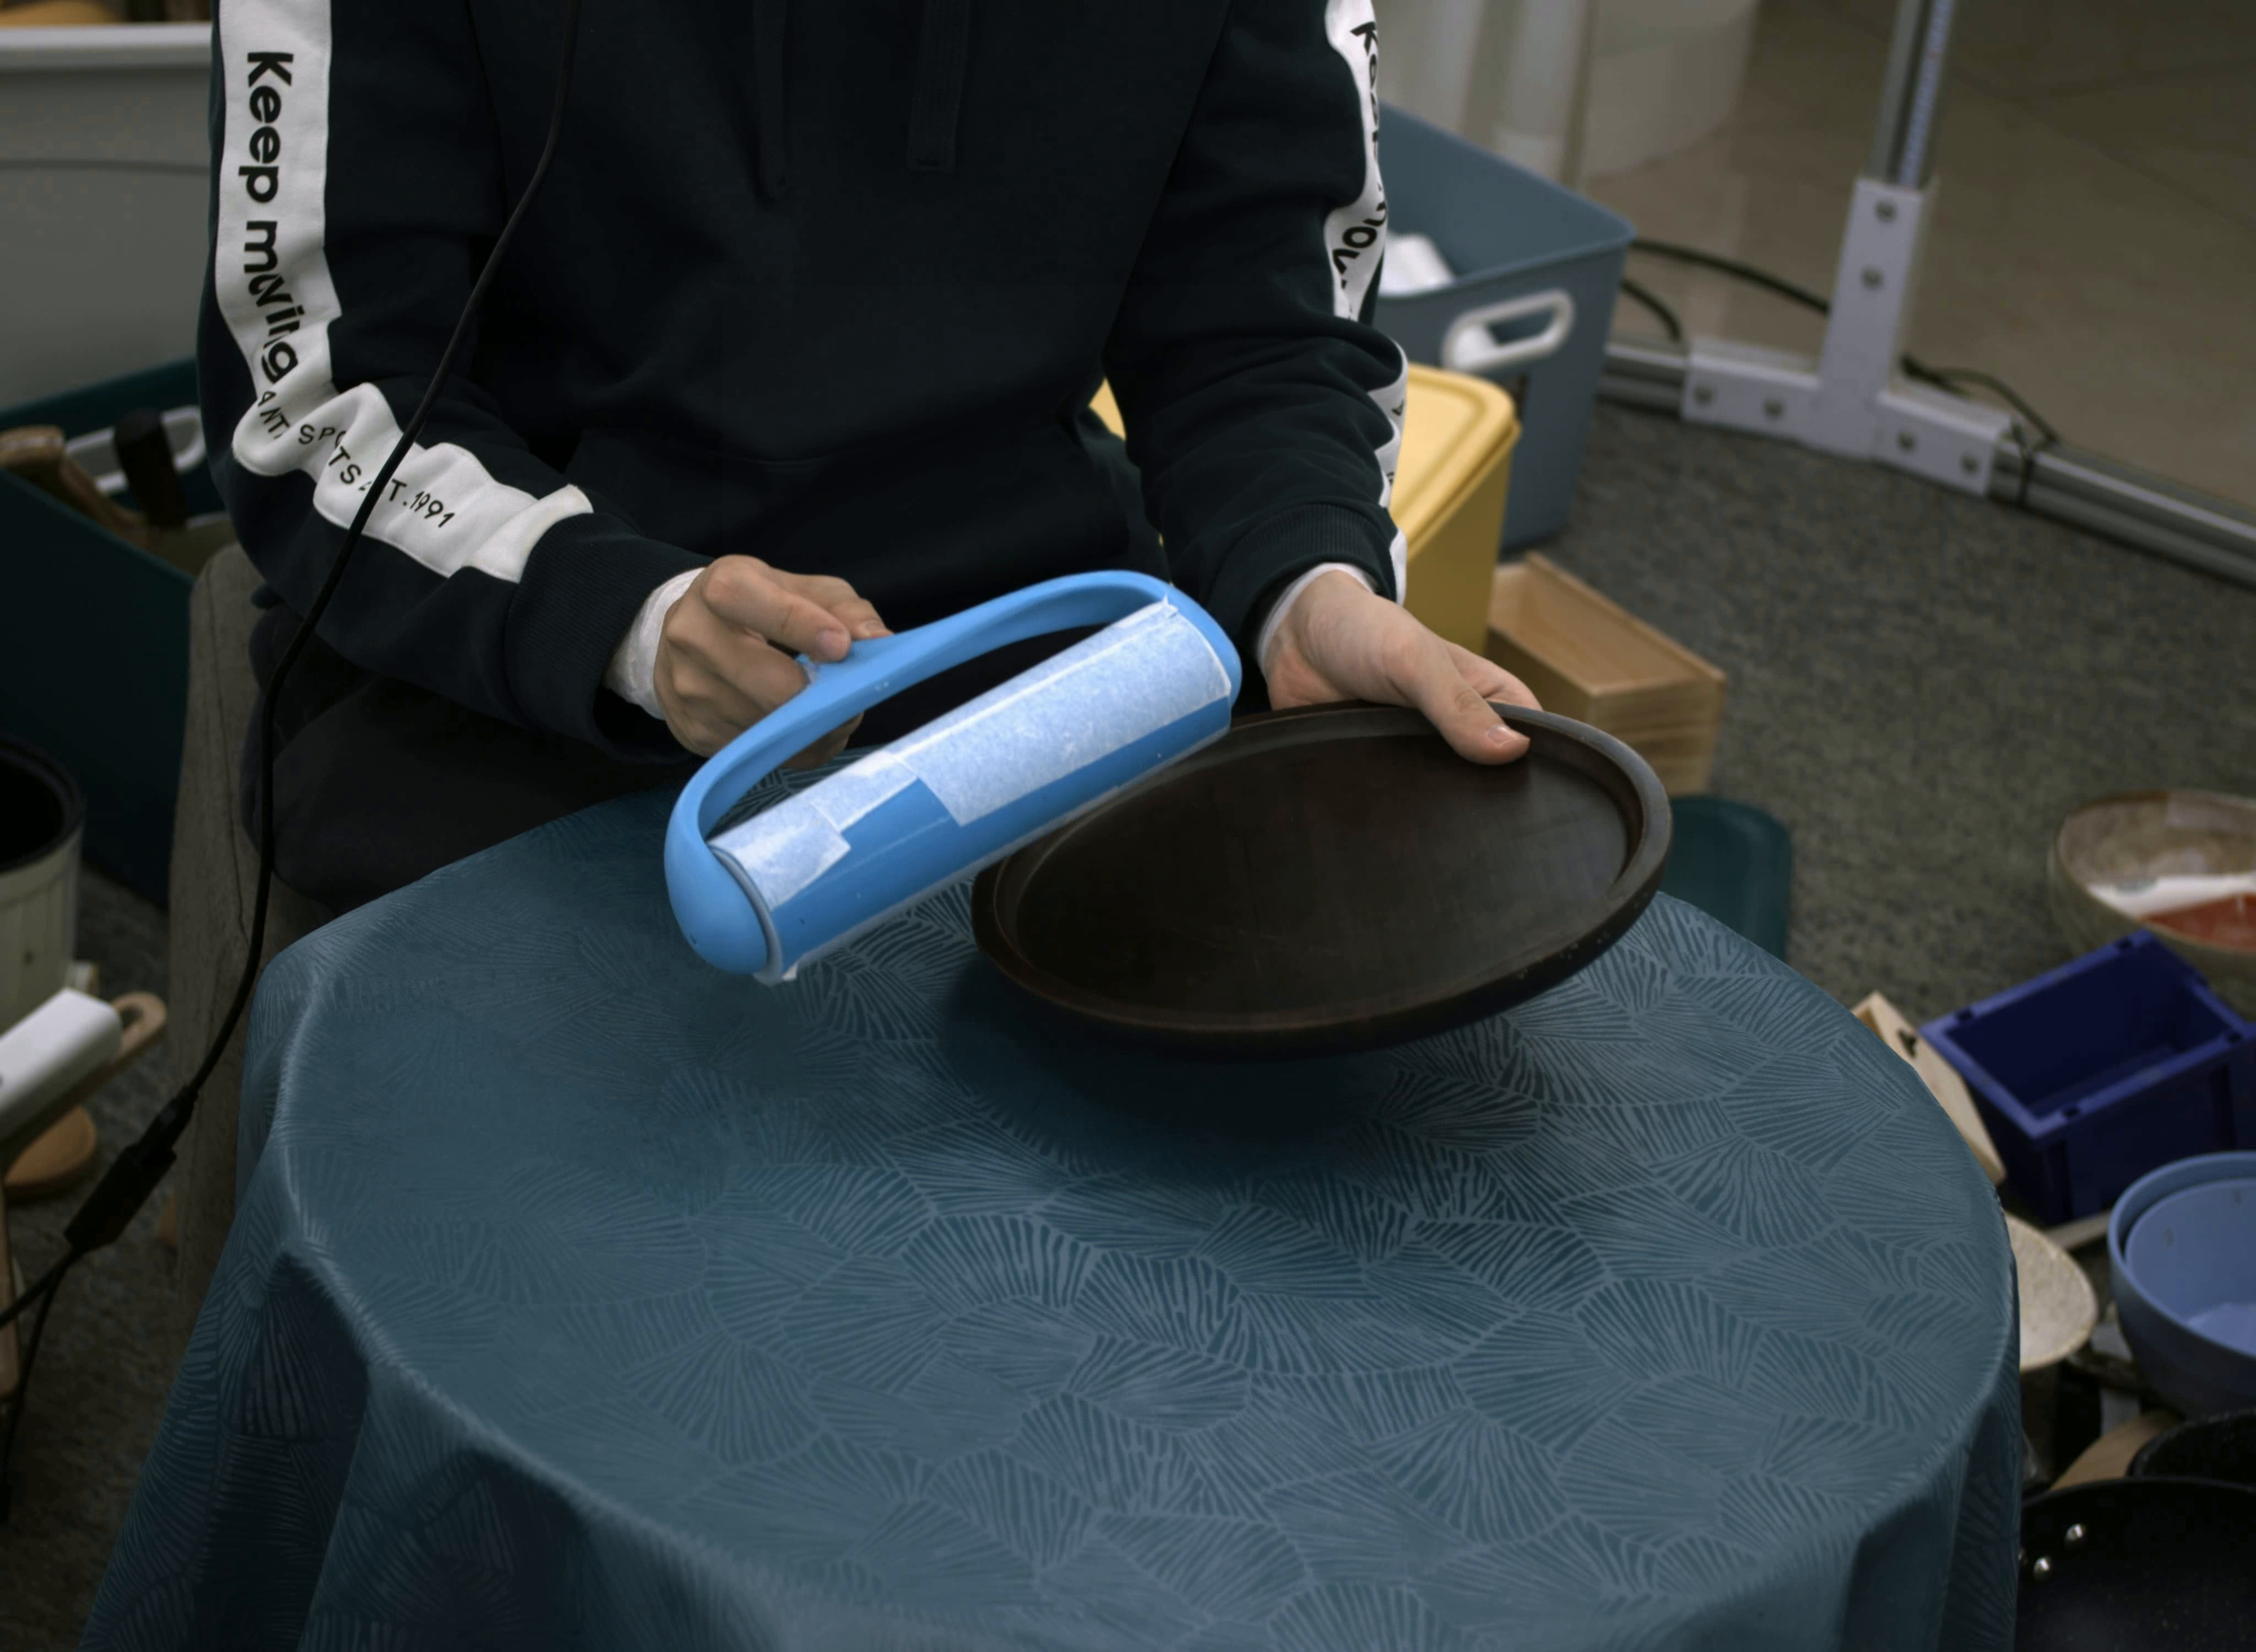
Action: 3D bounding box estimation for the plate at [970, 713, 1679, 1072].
[{"bbox_3d":[0.069,0.021,1.886,0.254,0.029,0.256,-8,26,4],"label":"plate"}]

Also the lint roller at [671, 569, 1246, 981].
[{"bbox_3d":[-0.090,-0.032,1.884,0.228,0.067,0.182,-32,34,-25],"label":"lint roller"}]
